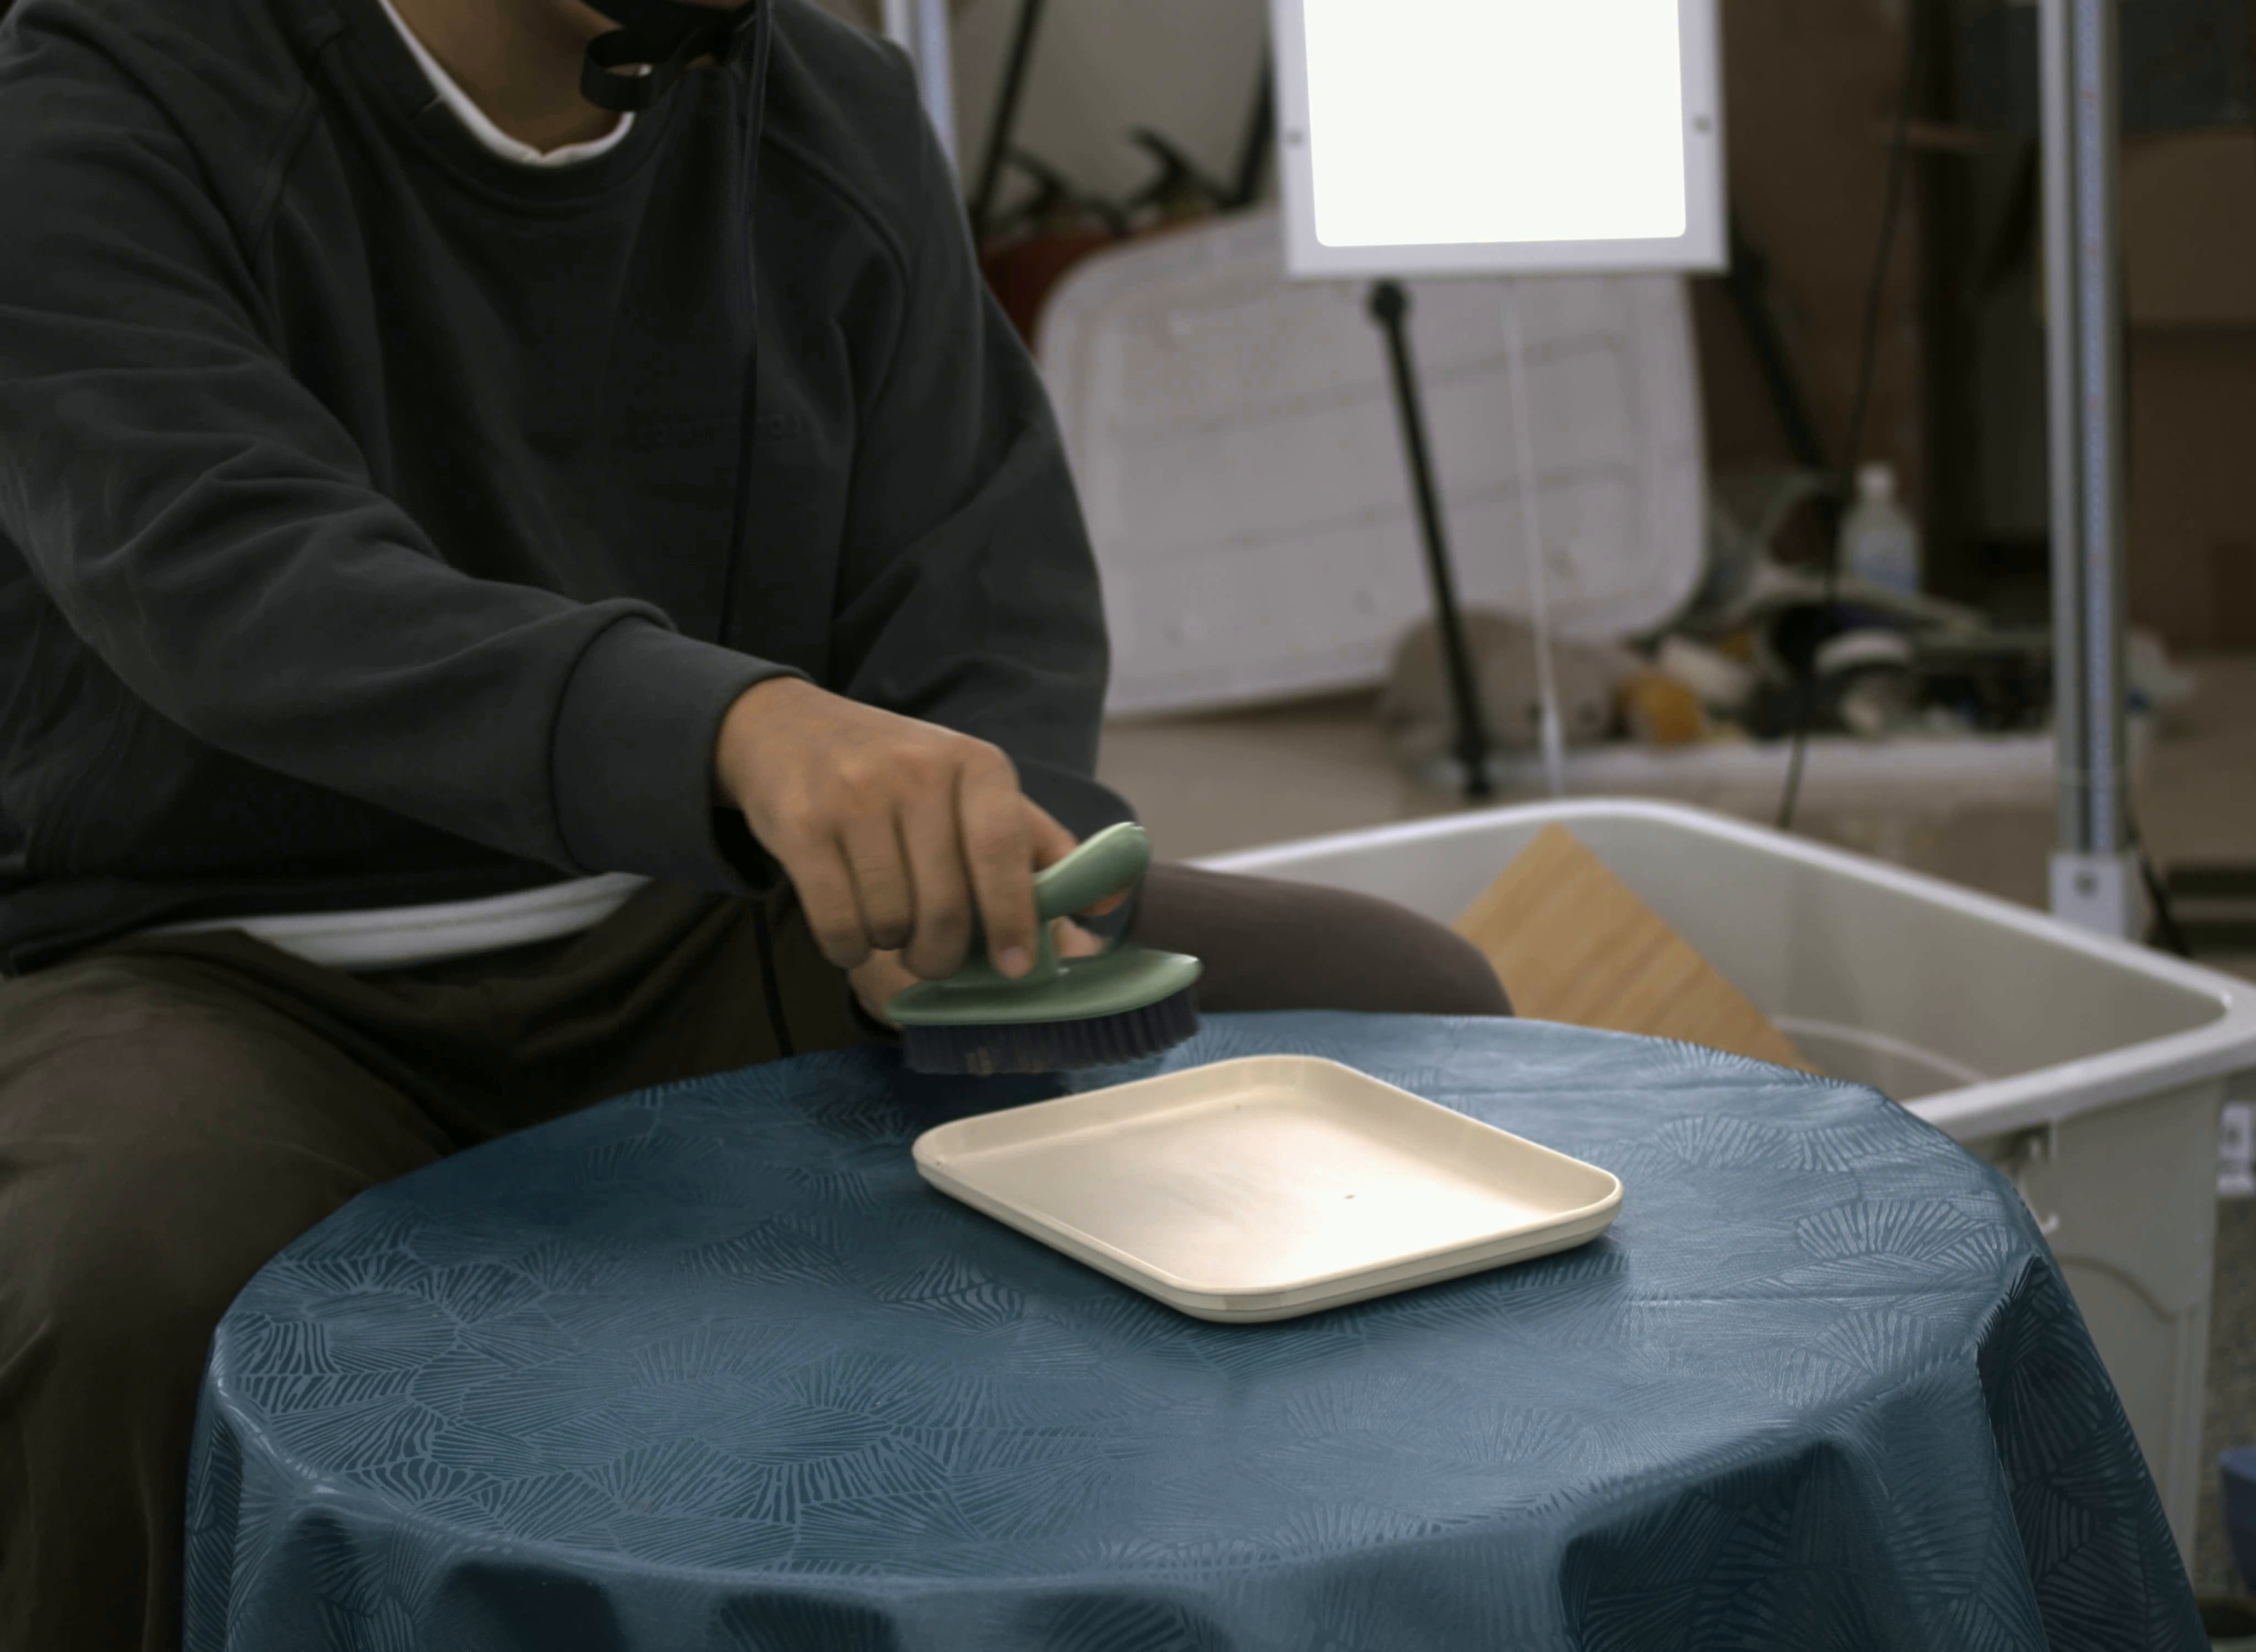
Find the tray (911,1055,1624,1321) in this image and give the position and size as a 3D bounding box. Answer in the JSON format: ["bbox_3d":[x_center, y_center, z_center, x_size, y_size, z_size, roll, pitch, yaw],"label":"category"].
[{"bbox_3d":[0.045,0.122,1.865,0.167,0.017,0.244,-11,15,-26],"label":"tray"}]

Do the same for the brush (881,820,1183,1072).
[{"bbox_3d":[-0.032,0.049,1.831,0.058,0.076,0.126,-17,-4,-42],"label":"brush"}]
